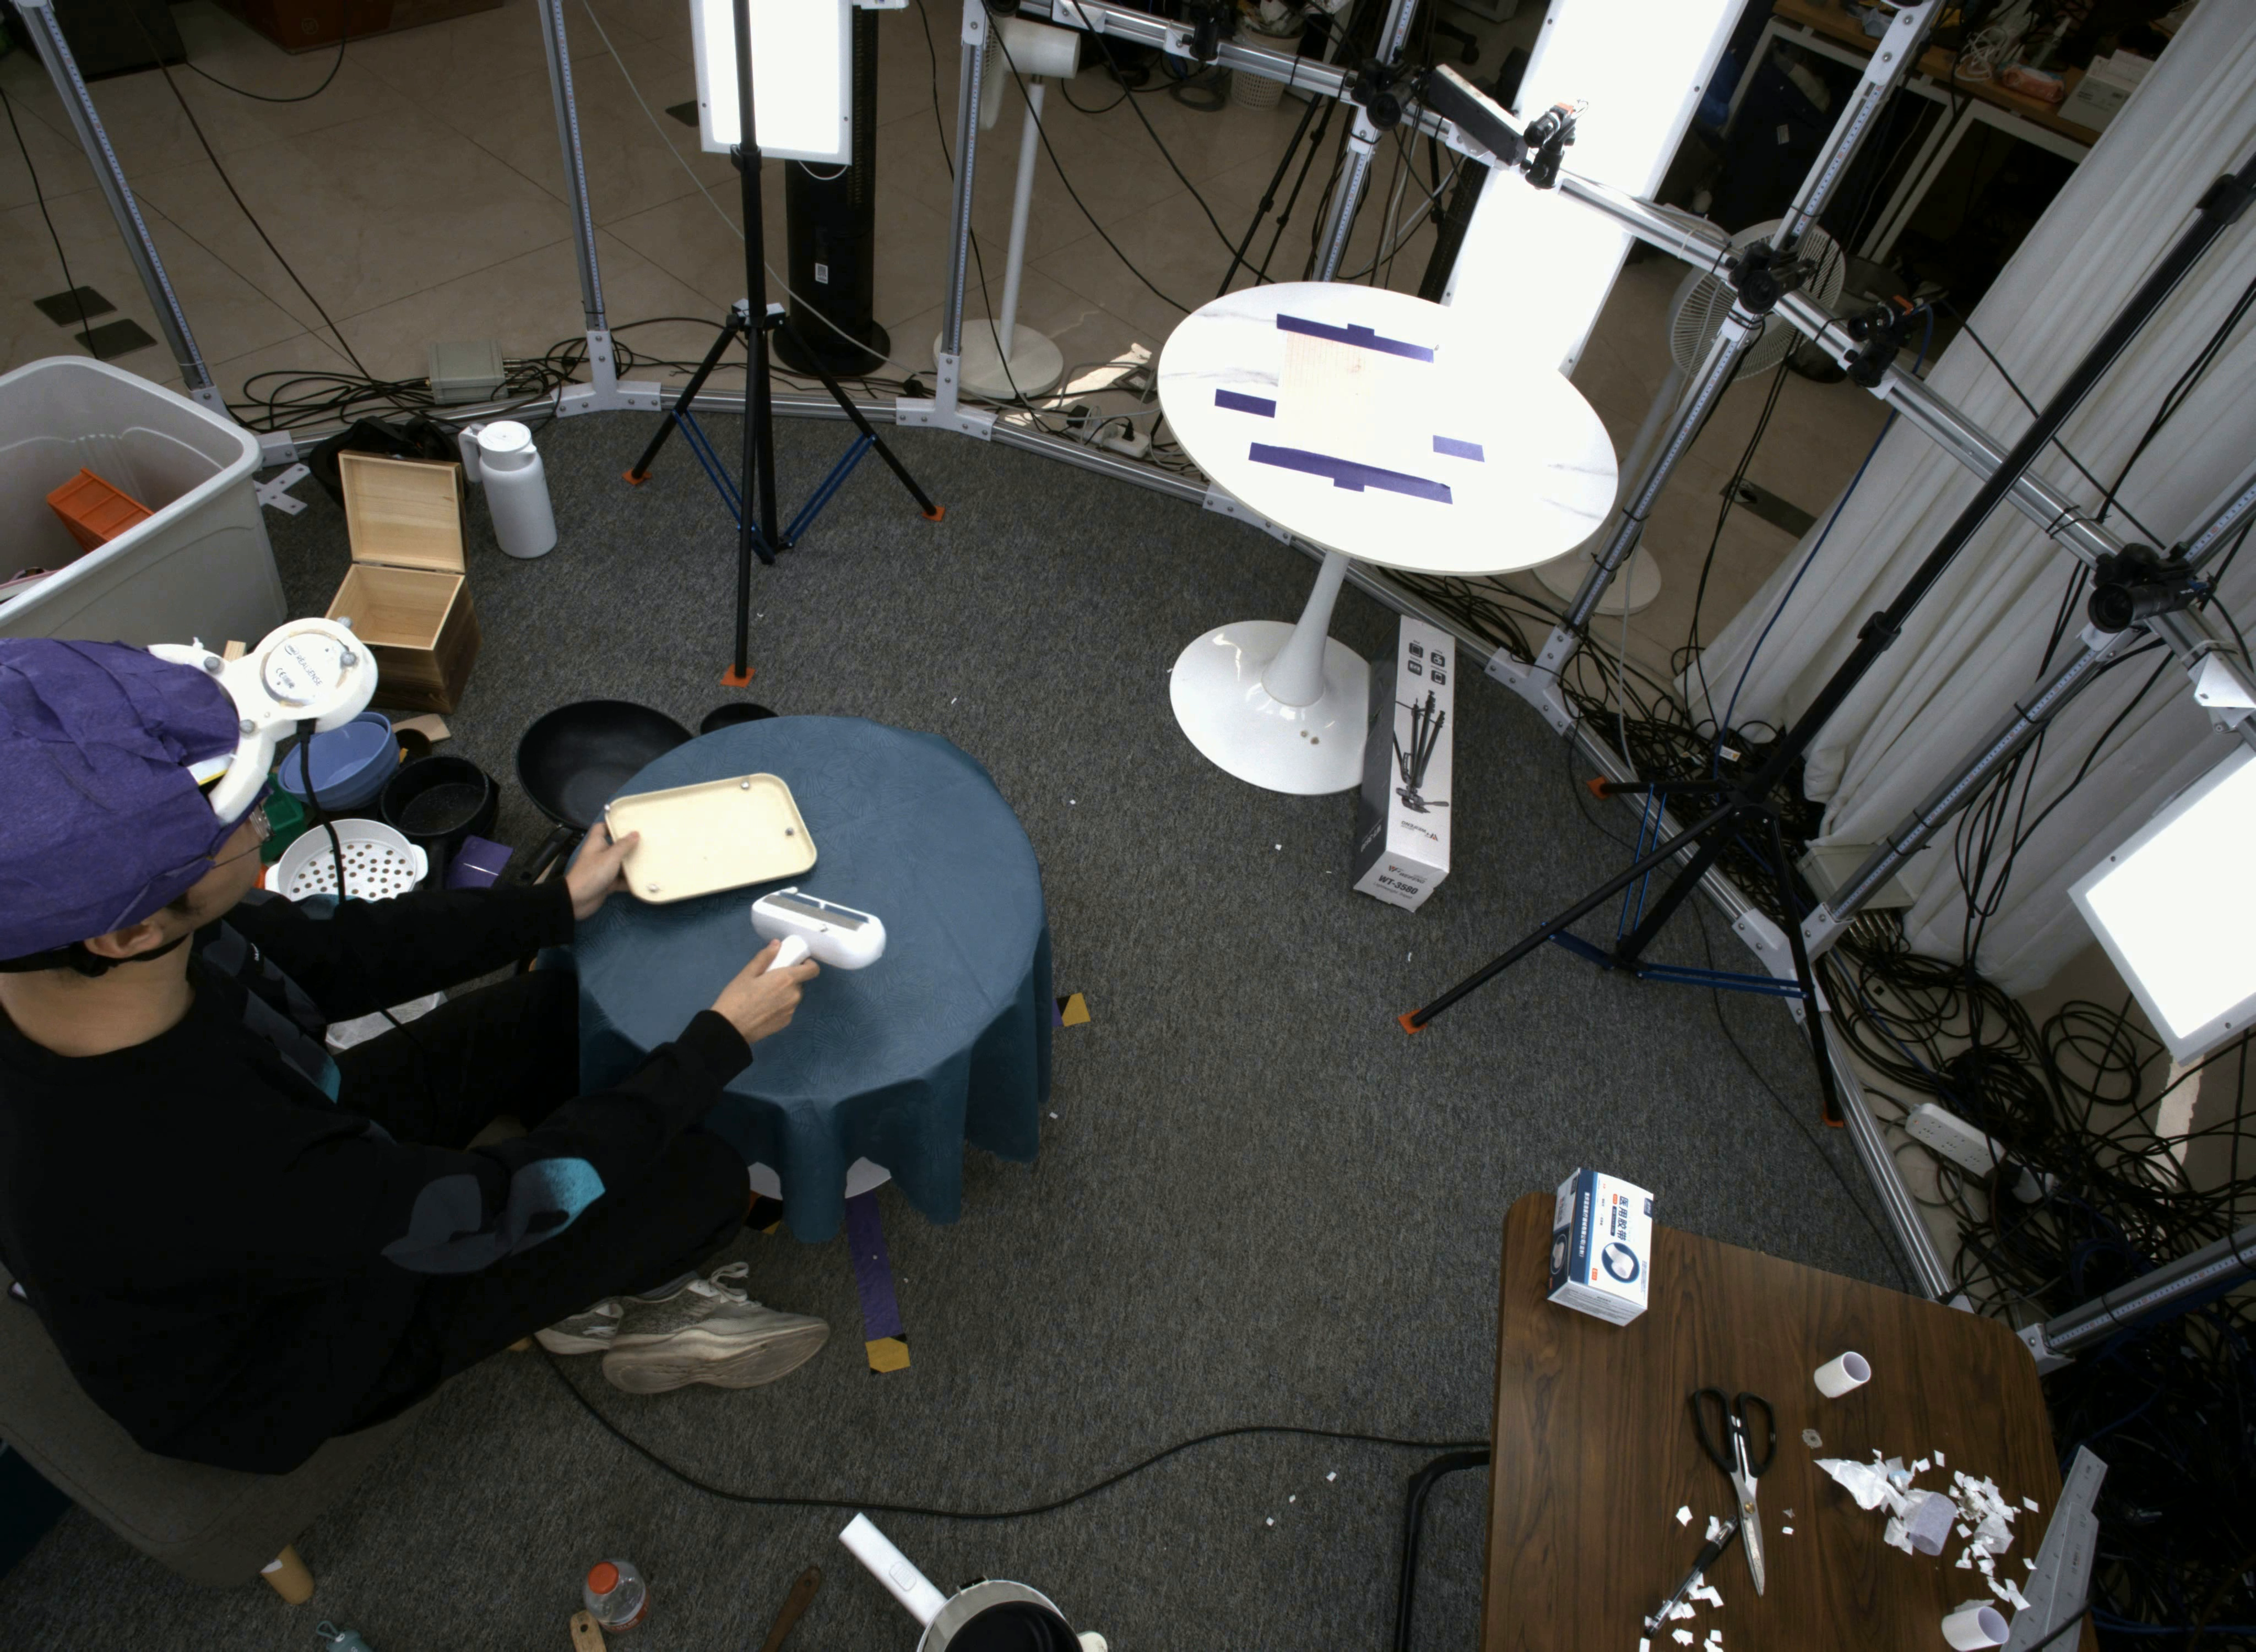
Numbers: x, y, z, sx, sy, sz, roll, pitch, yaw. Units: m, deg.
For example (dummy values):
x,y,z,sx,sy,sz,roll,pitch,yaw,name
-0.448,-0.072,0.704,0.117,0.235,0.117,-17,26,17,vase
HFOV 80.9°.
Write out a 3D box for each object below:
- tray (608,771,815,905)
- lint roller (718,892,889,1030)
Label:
x,y,z,sx,sy,sz,roll,pitch,yaw,name
-0.534,0.012,1.651,0.242,0.018,0.167,-12,60,-30,tray
-0.397,0.155,1.498,0.186,0.077,0.192,18,41,33,lint roller
